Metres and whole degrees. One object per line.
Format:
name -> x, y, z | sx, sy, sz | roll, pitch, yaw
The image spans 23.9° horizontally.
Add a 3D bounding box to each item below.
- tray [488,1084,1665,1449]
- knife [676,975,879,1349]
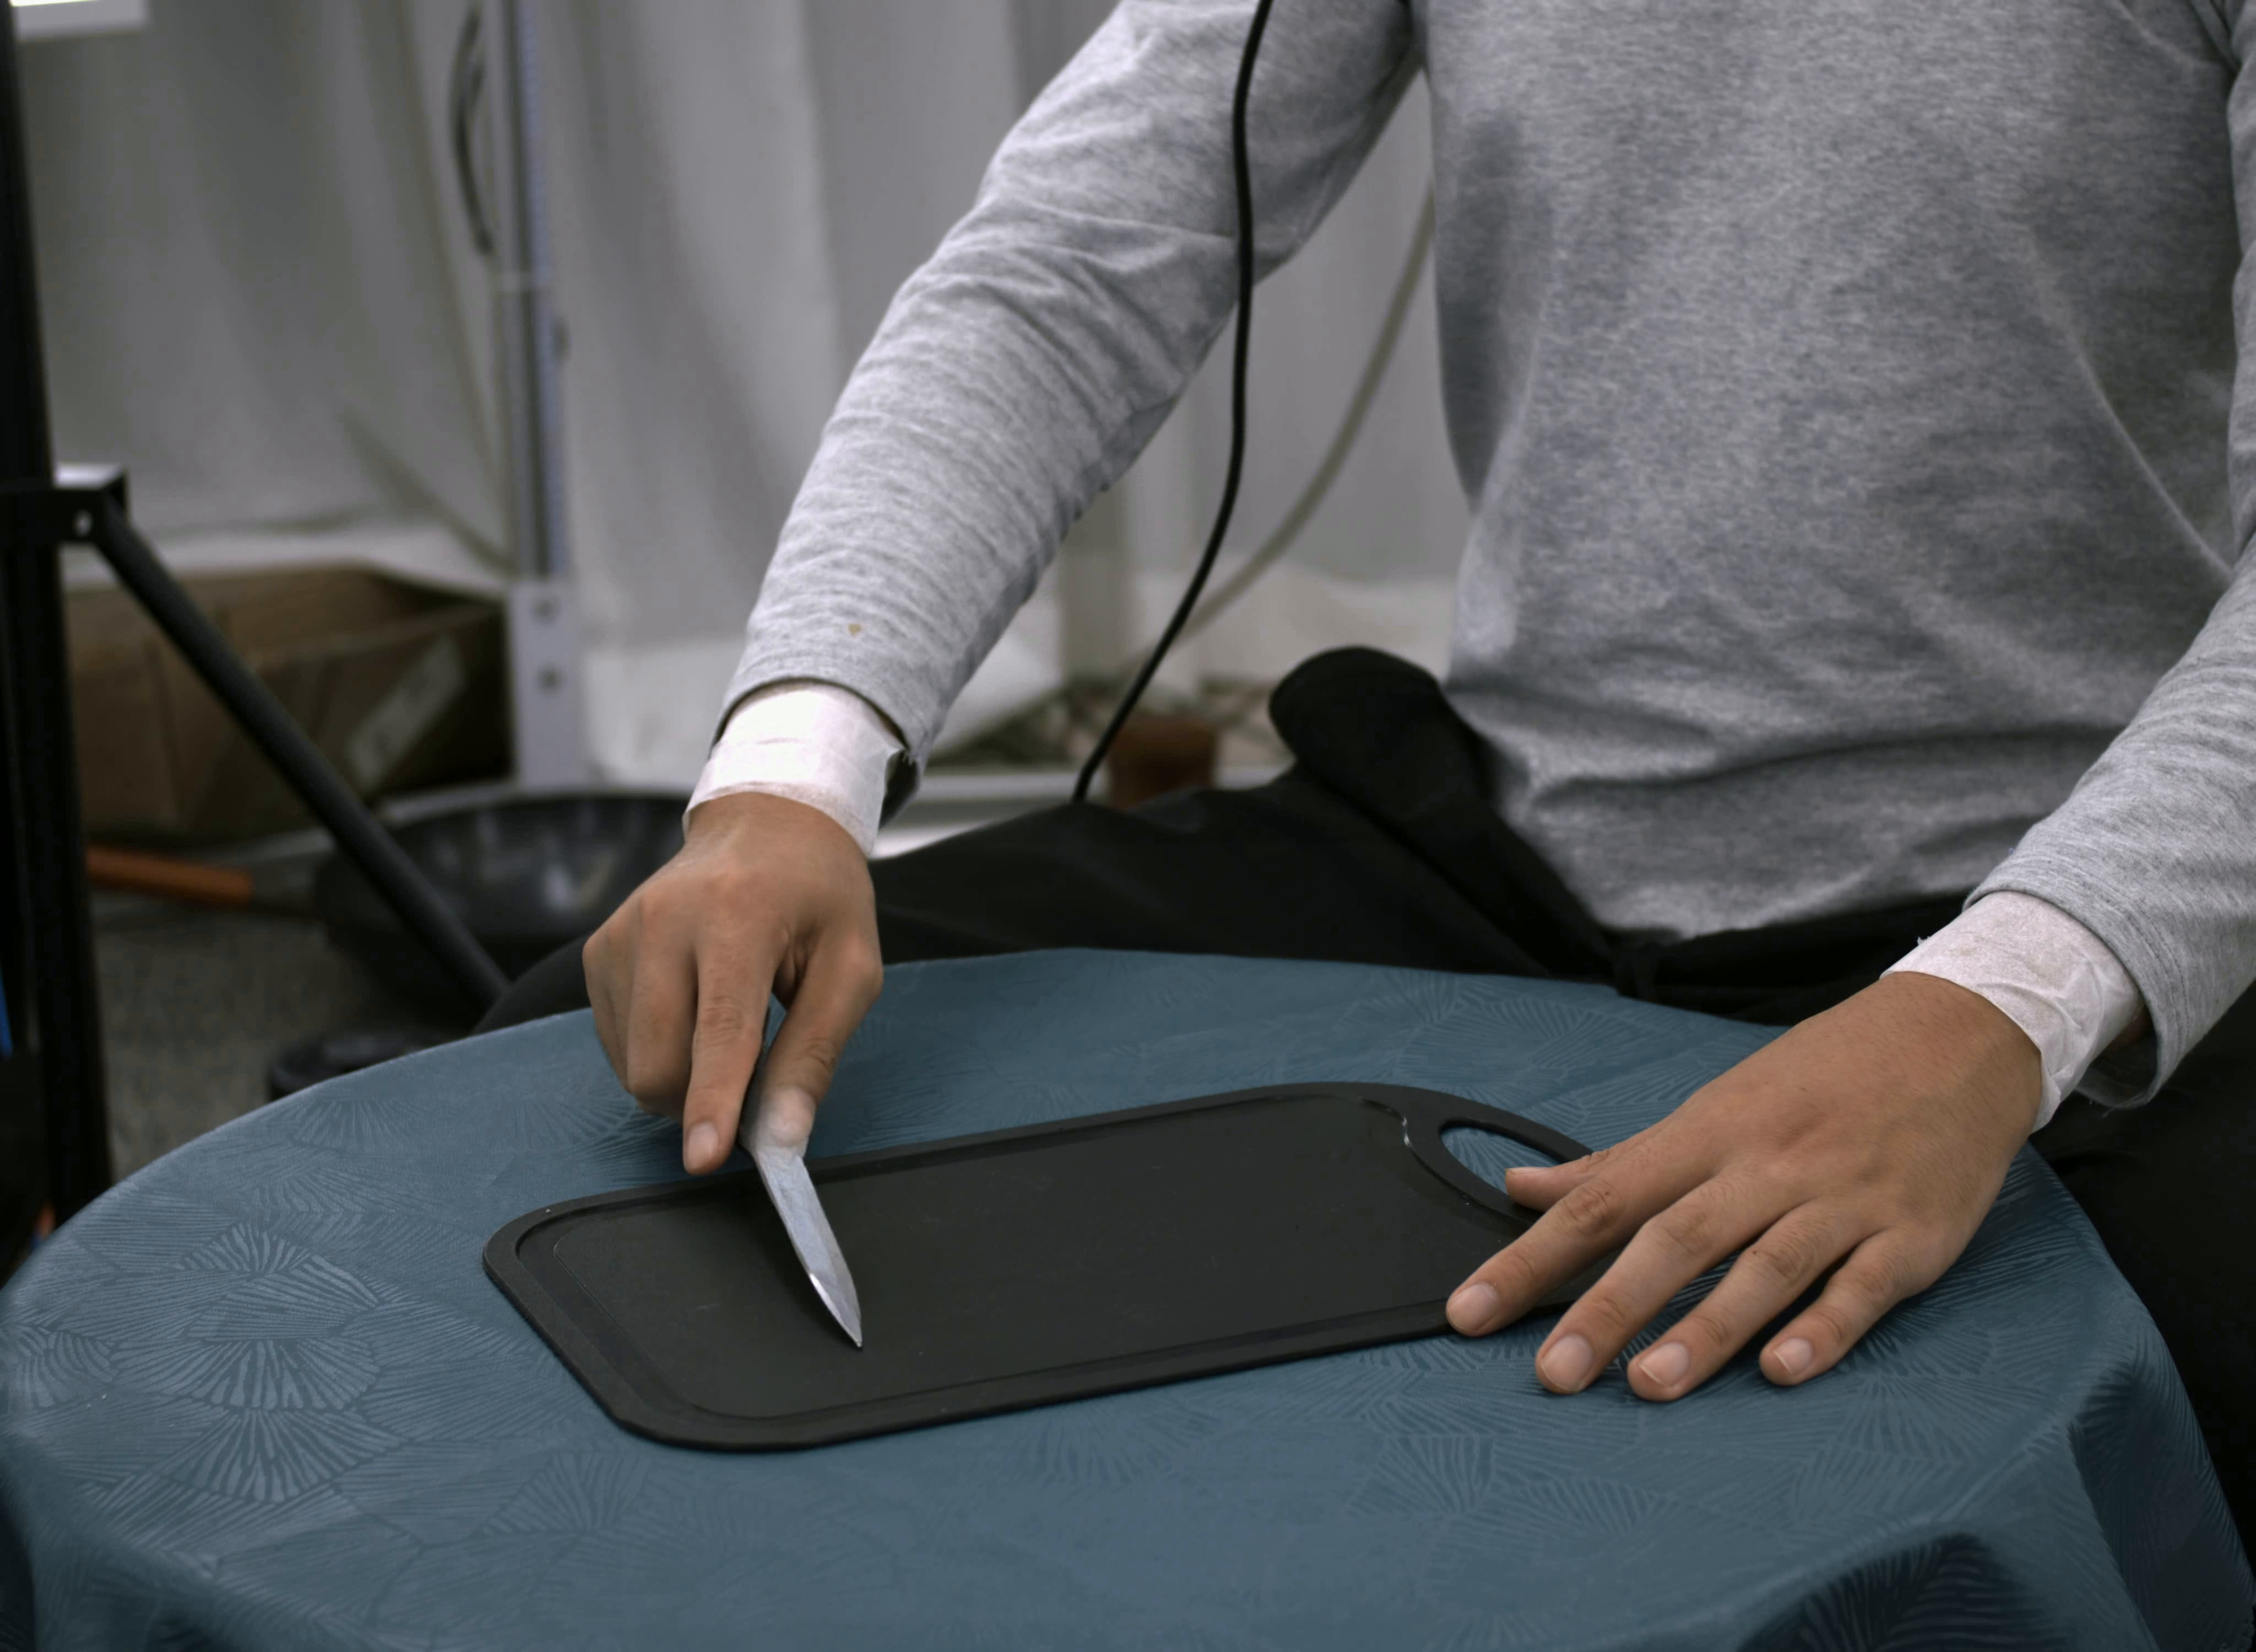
tray -> -0.010, 0.119, 1.515 | 0.319, 0.010, 0.215 | -8, 17, -19
knife -> -0.102, 0.097, 1.550 | 0.024, 0.016, 0.242 | 26, 14, -25
